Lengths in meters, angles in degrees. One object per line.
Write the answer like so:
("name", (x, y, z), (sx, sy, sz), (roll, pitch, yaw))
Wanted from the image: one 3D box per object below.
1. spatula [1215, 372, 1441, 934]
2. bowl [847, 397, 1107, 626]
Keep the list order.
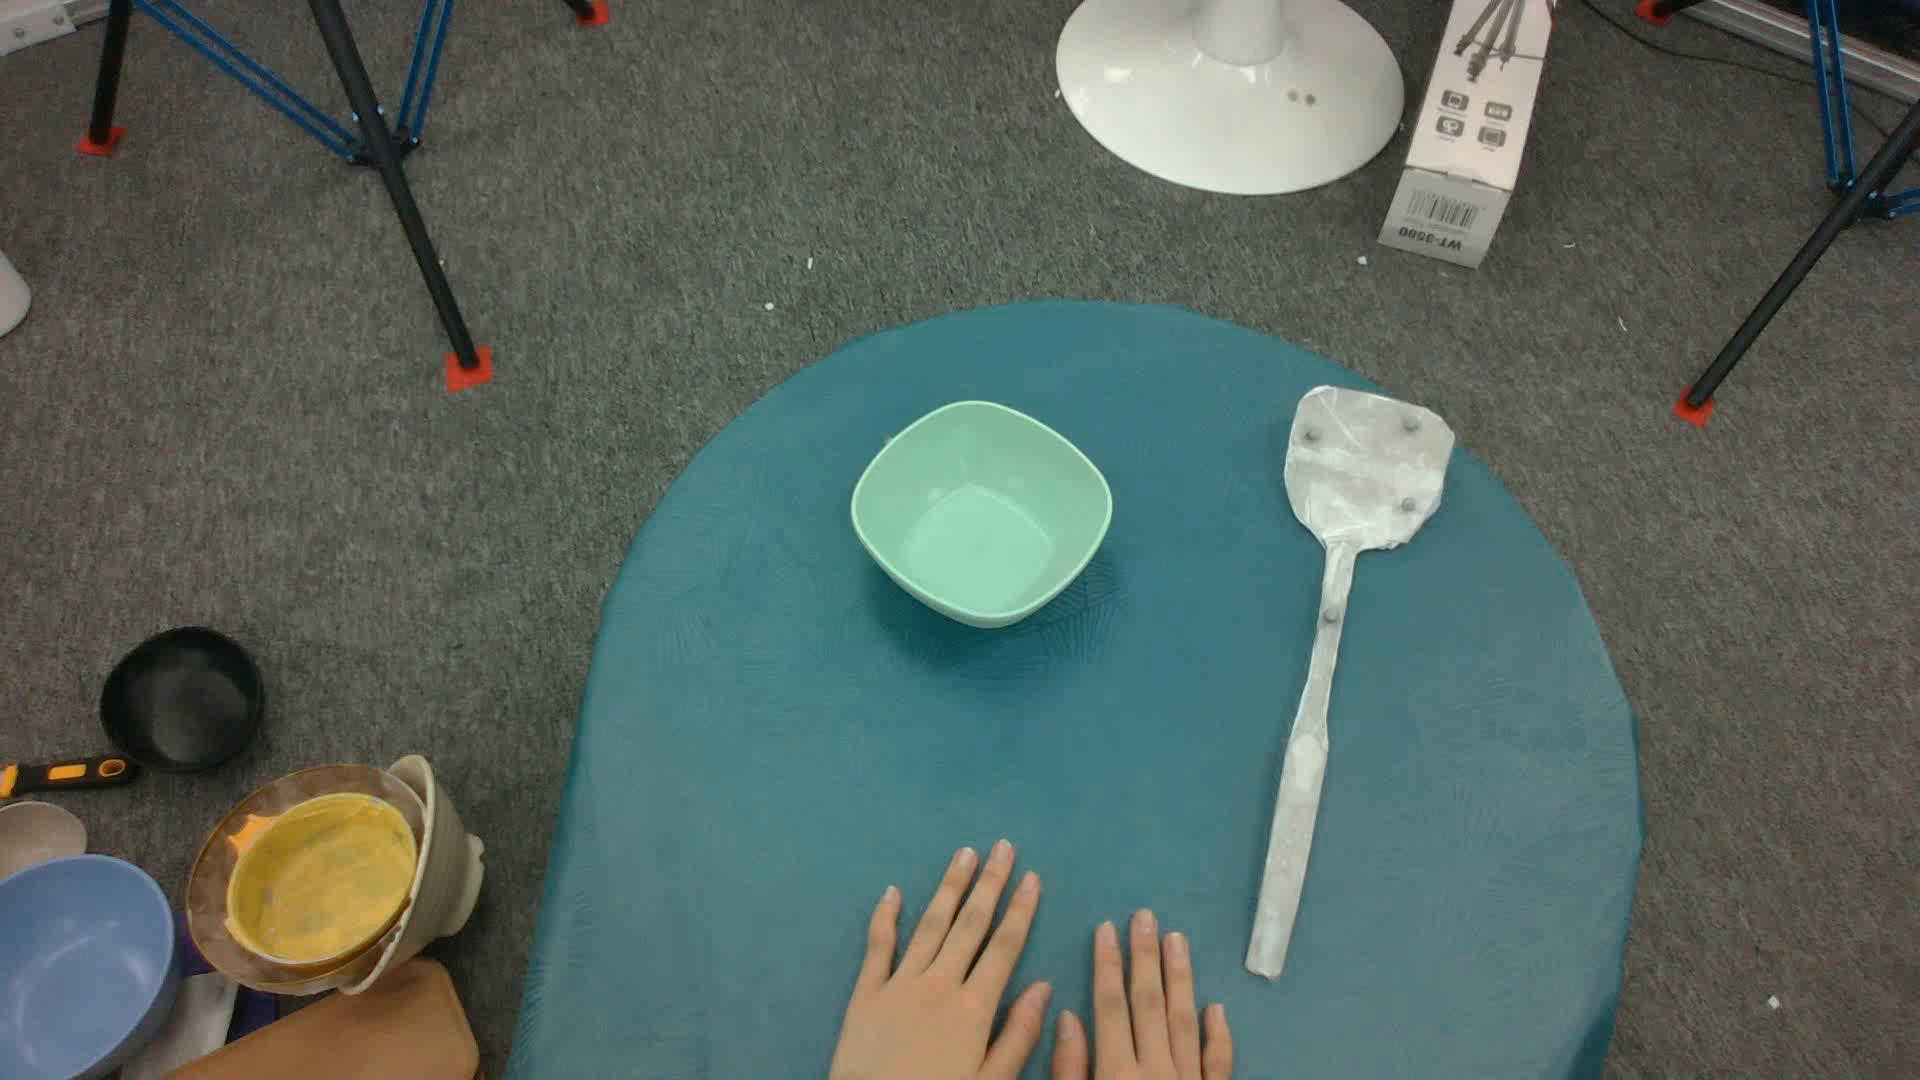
("spatula", (0.202, 0.054, 0.793), (0.098, 0.044, 0.366), (18, 57, 6))
("bowl", (0.010, -0.008, 0.816), (0.151, 0.058, 0.152), (0, 60, 0))
